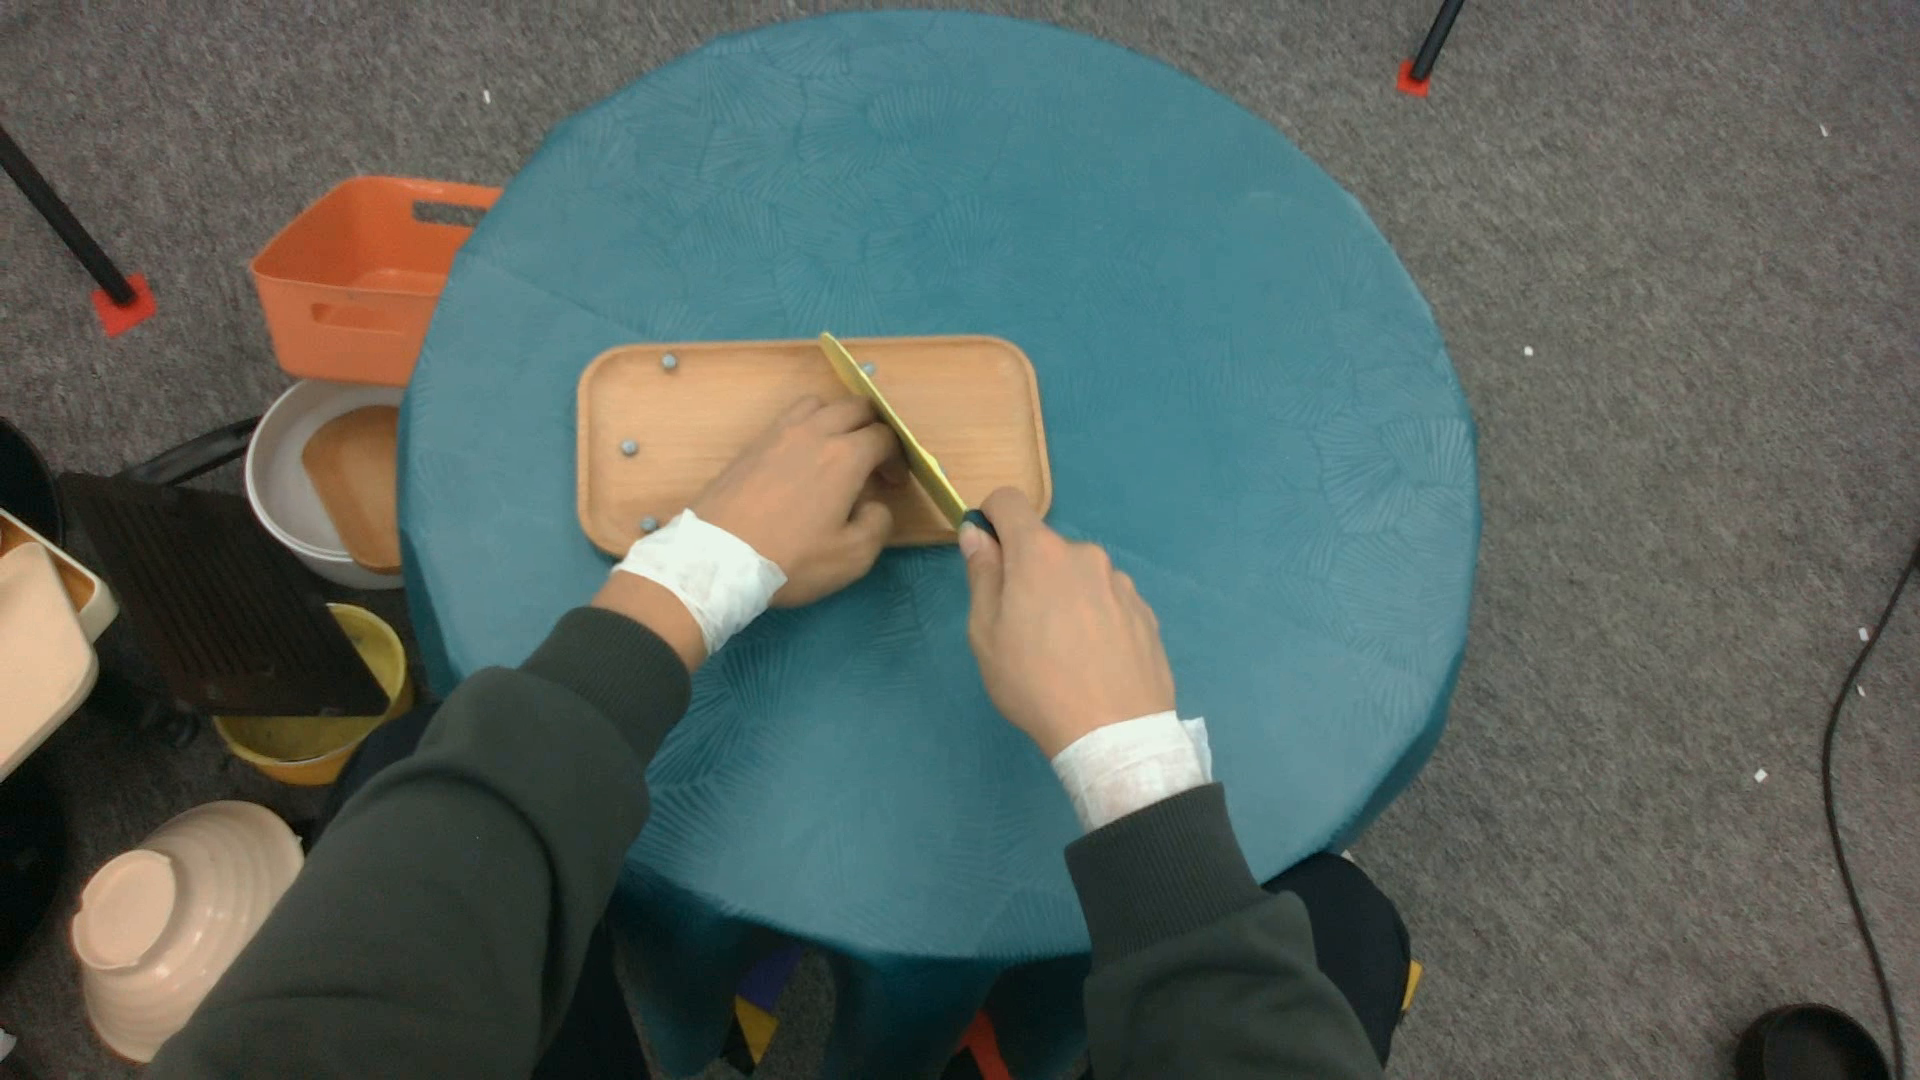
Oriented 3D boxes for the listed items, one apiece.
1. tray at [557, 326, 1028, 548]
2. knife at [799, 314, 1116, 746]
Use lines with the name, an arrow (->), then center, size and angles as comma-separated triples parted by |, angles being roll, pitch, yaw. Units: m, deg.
tray -> -0.090, -0.058, 0.753 | 0.251, 0.023, 0.131 | -2, 68, -13
knife -> -0.010, -0.013, 0.688 | 0.027, 0.081, 0.290 | -33, 65, -6
